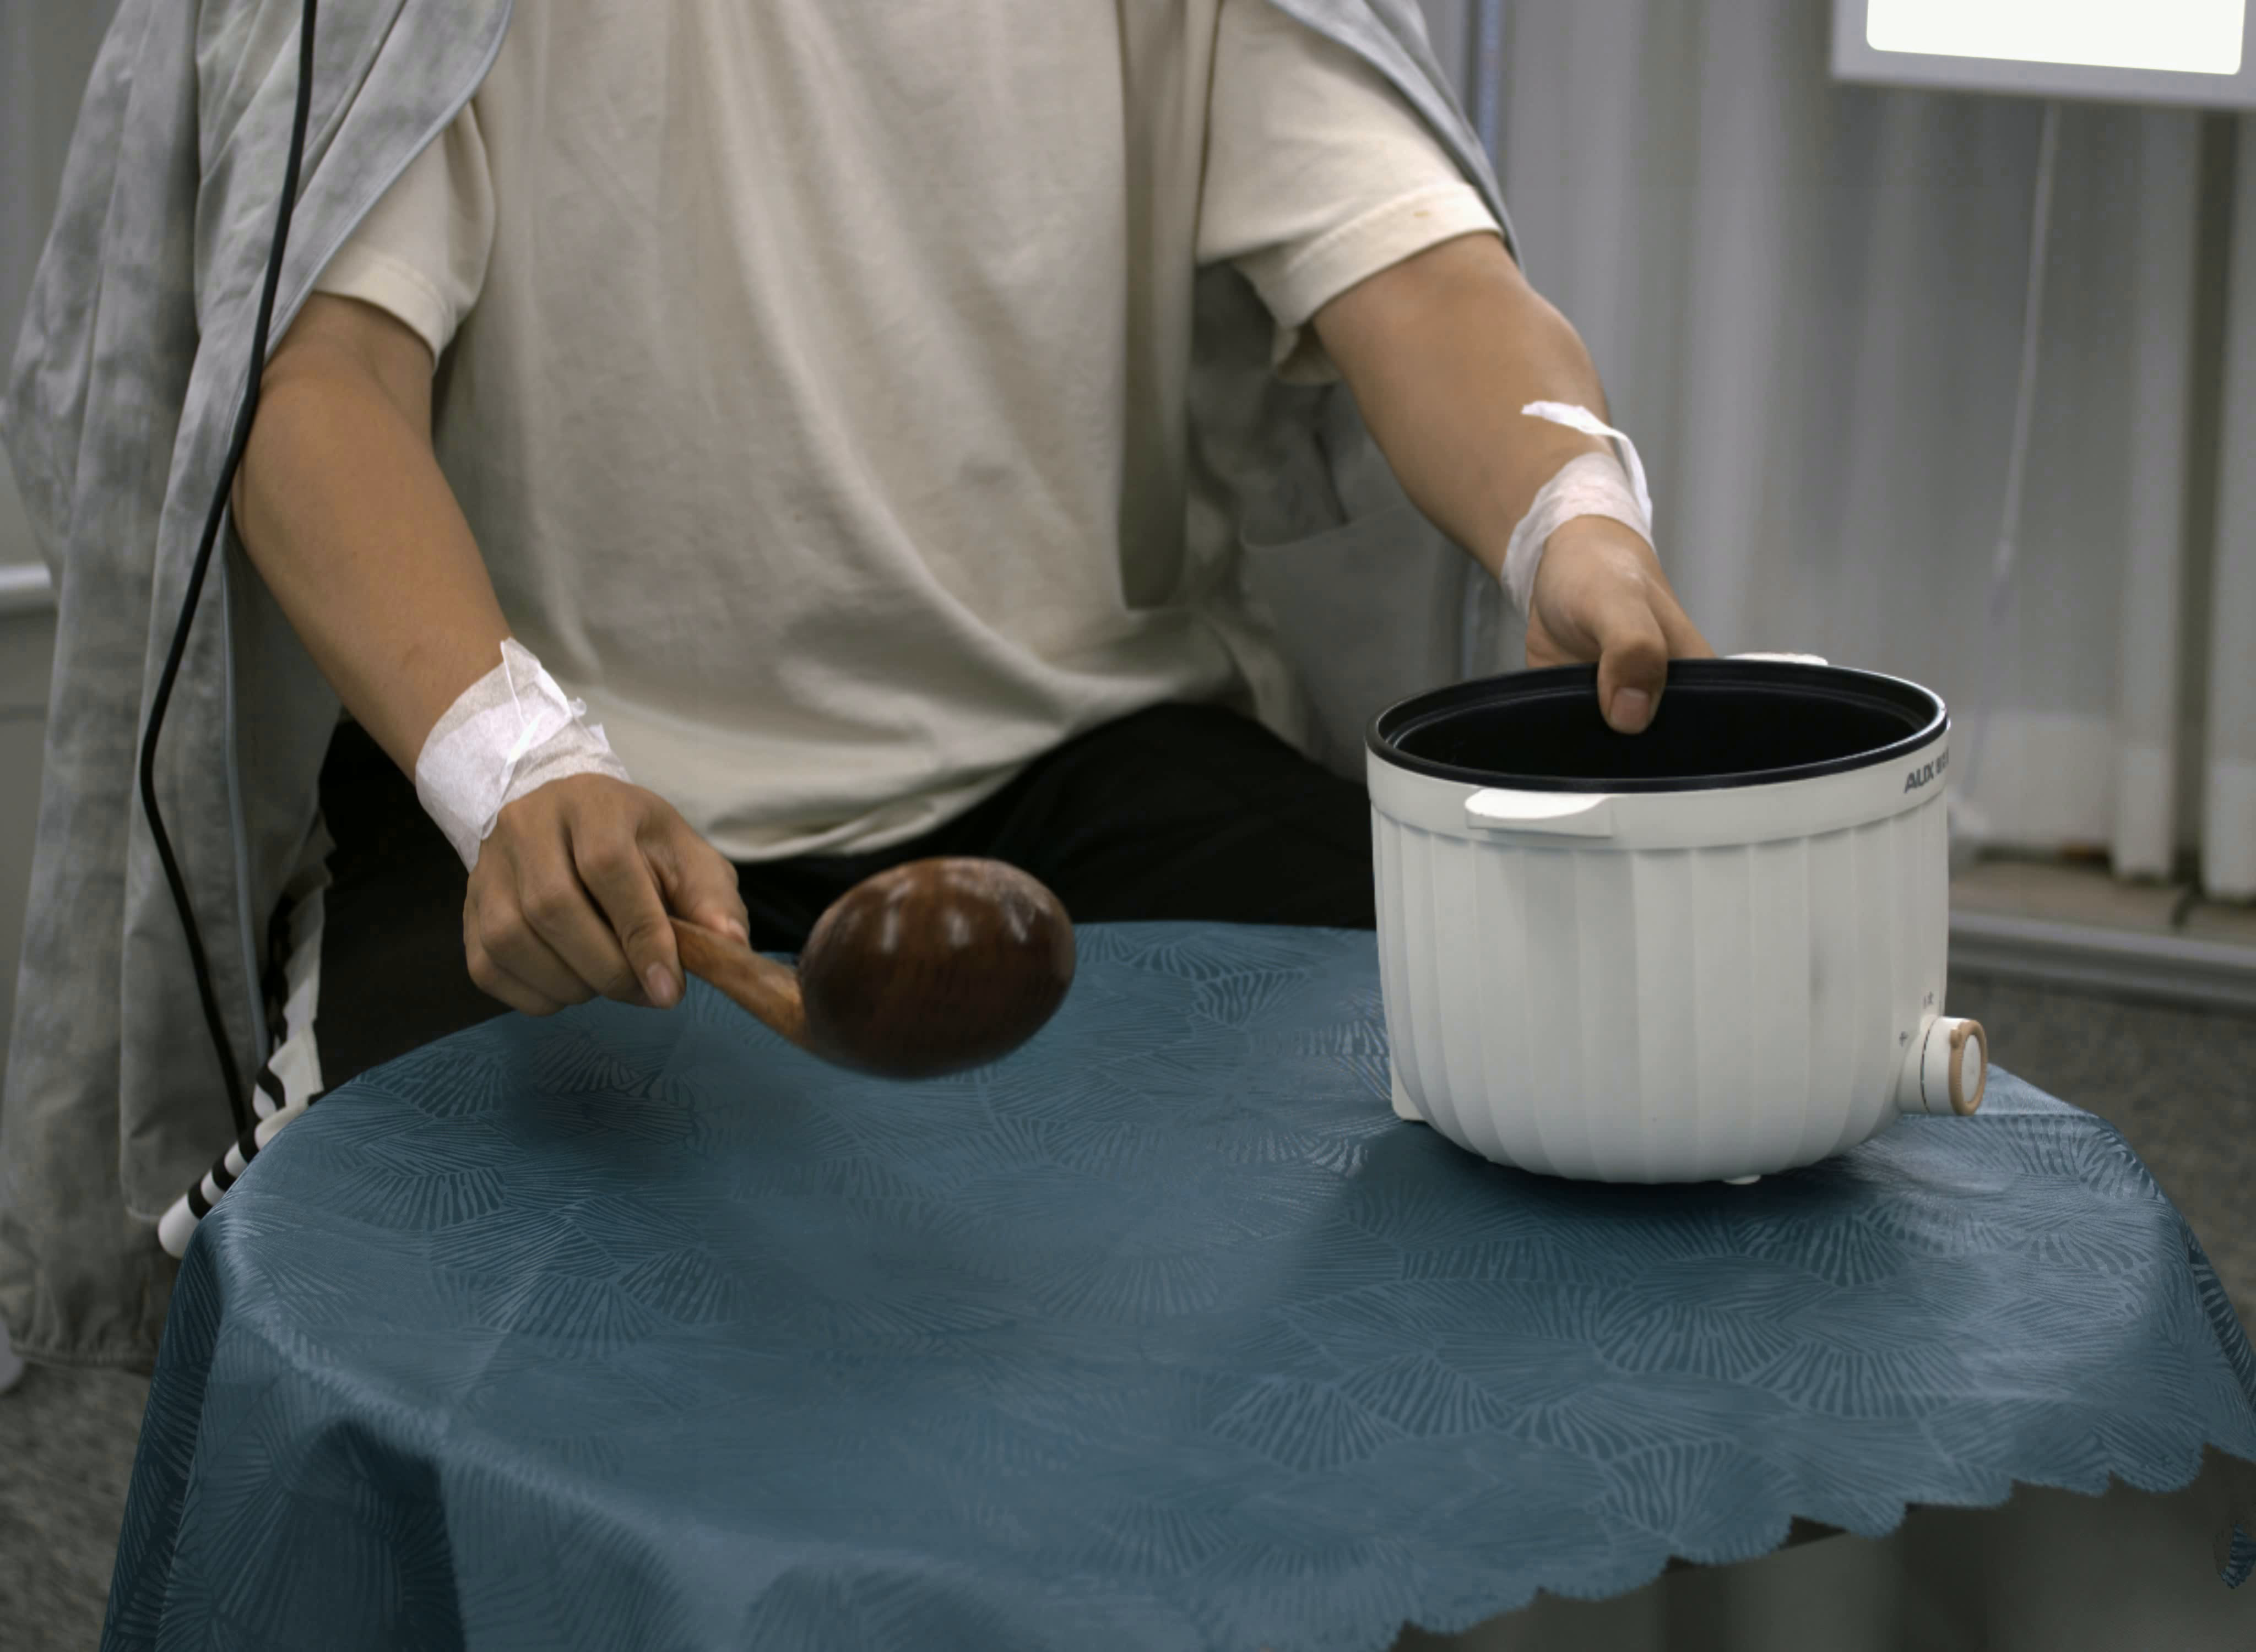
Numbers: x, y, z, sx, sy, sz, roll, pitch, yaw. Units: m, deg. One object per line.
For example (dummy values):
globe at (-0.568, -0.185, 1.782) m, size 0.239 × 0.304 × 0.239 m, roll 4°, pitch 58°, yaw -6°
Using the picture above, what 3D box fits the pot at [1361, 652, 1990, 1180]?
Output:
pot at (0.173, 0.030, 1.654) m, size 0.188 × 0.144 × 0.241 m, roll 0°, pitch 14°, yaw 26°

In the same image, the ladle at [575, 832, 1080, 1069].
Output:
ladle at (-0.102, 0.021, 1.600) m, size 0.082 × 0.077 × 0.271 m, roll 25°, pitch -2°, yaw -28°
